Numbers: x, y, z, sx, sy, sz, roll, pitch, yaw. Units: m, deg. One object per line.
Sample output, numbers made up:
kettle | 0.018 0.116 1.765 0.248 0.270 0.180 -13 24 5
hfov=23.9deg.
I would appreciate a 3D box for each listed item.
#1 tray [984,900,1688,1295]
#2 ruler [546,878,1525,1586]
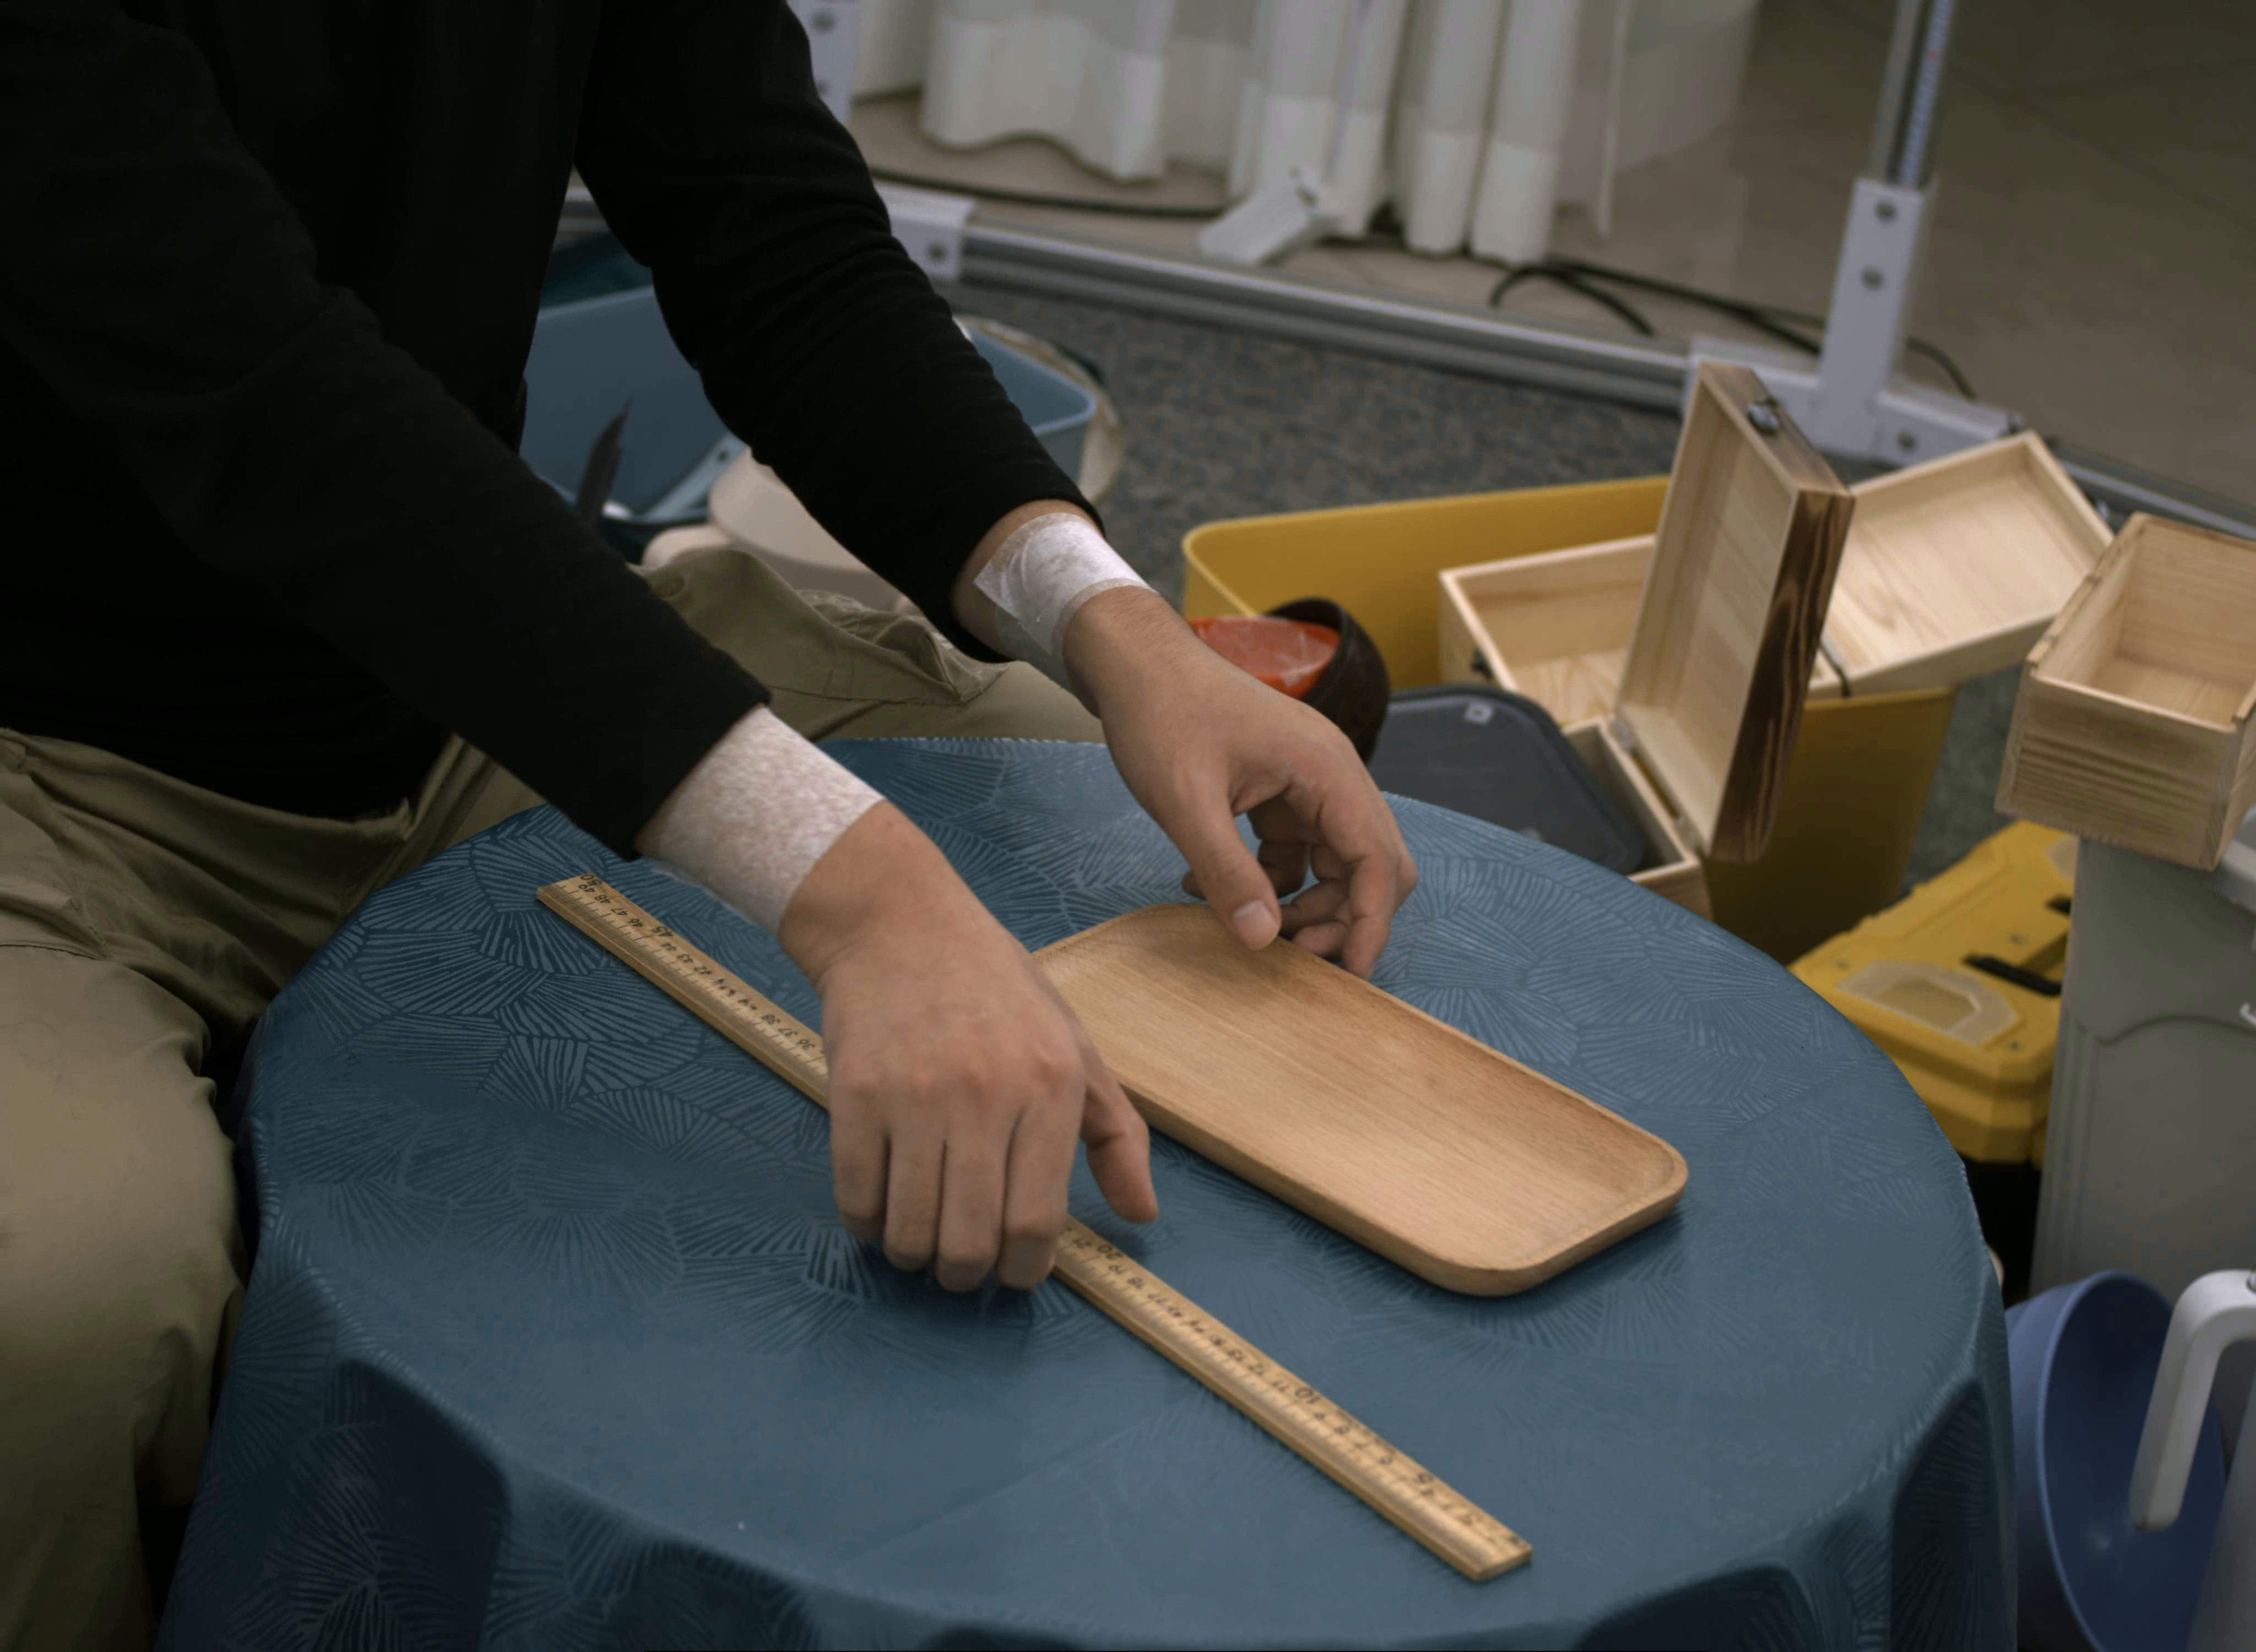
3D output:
tray | 0.070 0.092 1.861 0.252 0.023 0.130 27 31 37
ruler | -0.045 0.125 1.785 0.026 0.006 0.504 -13 33 -38
